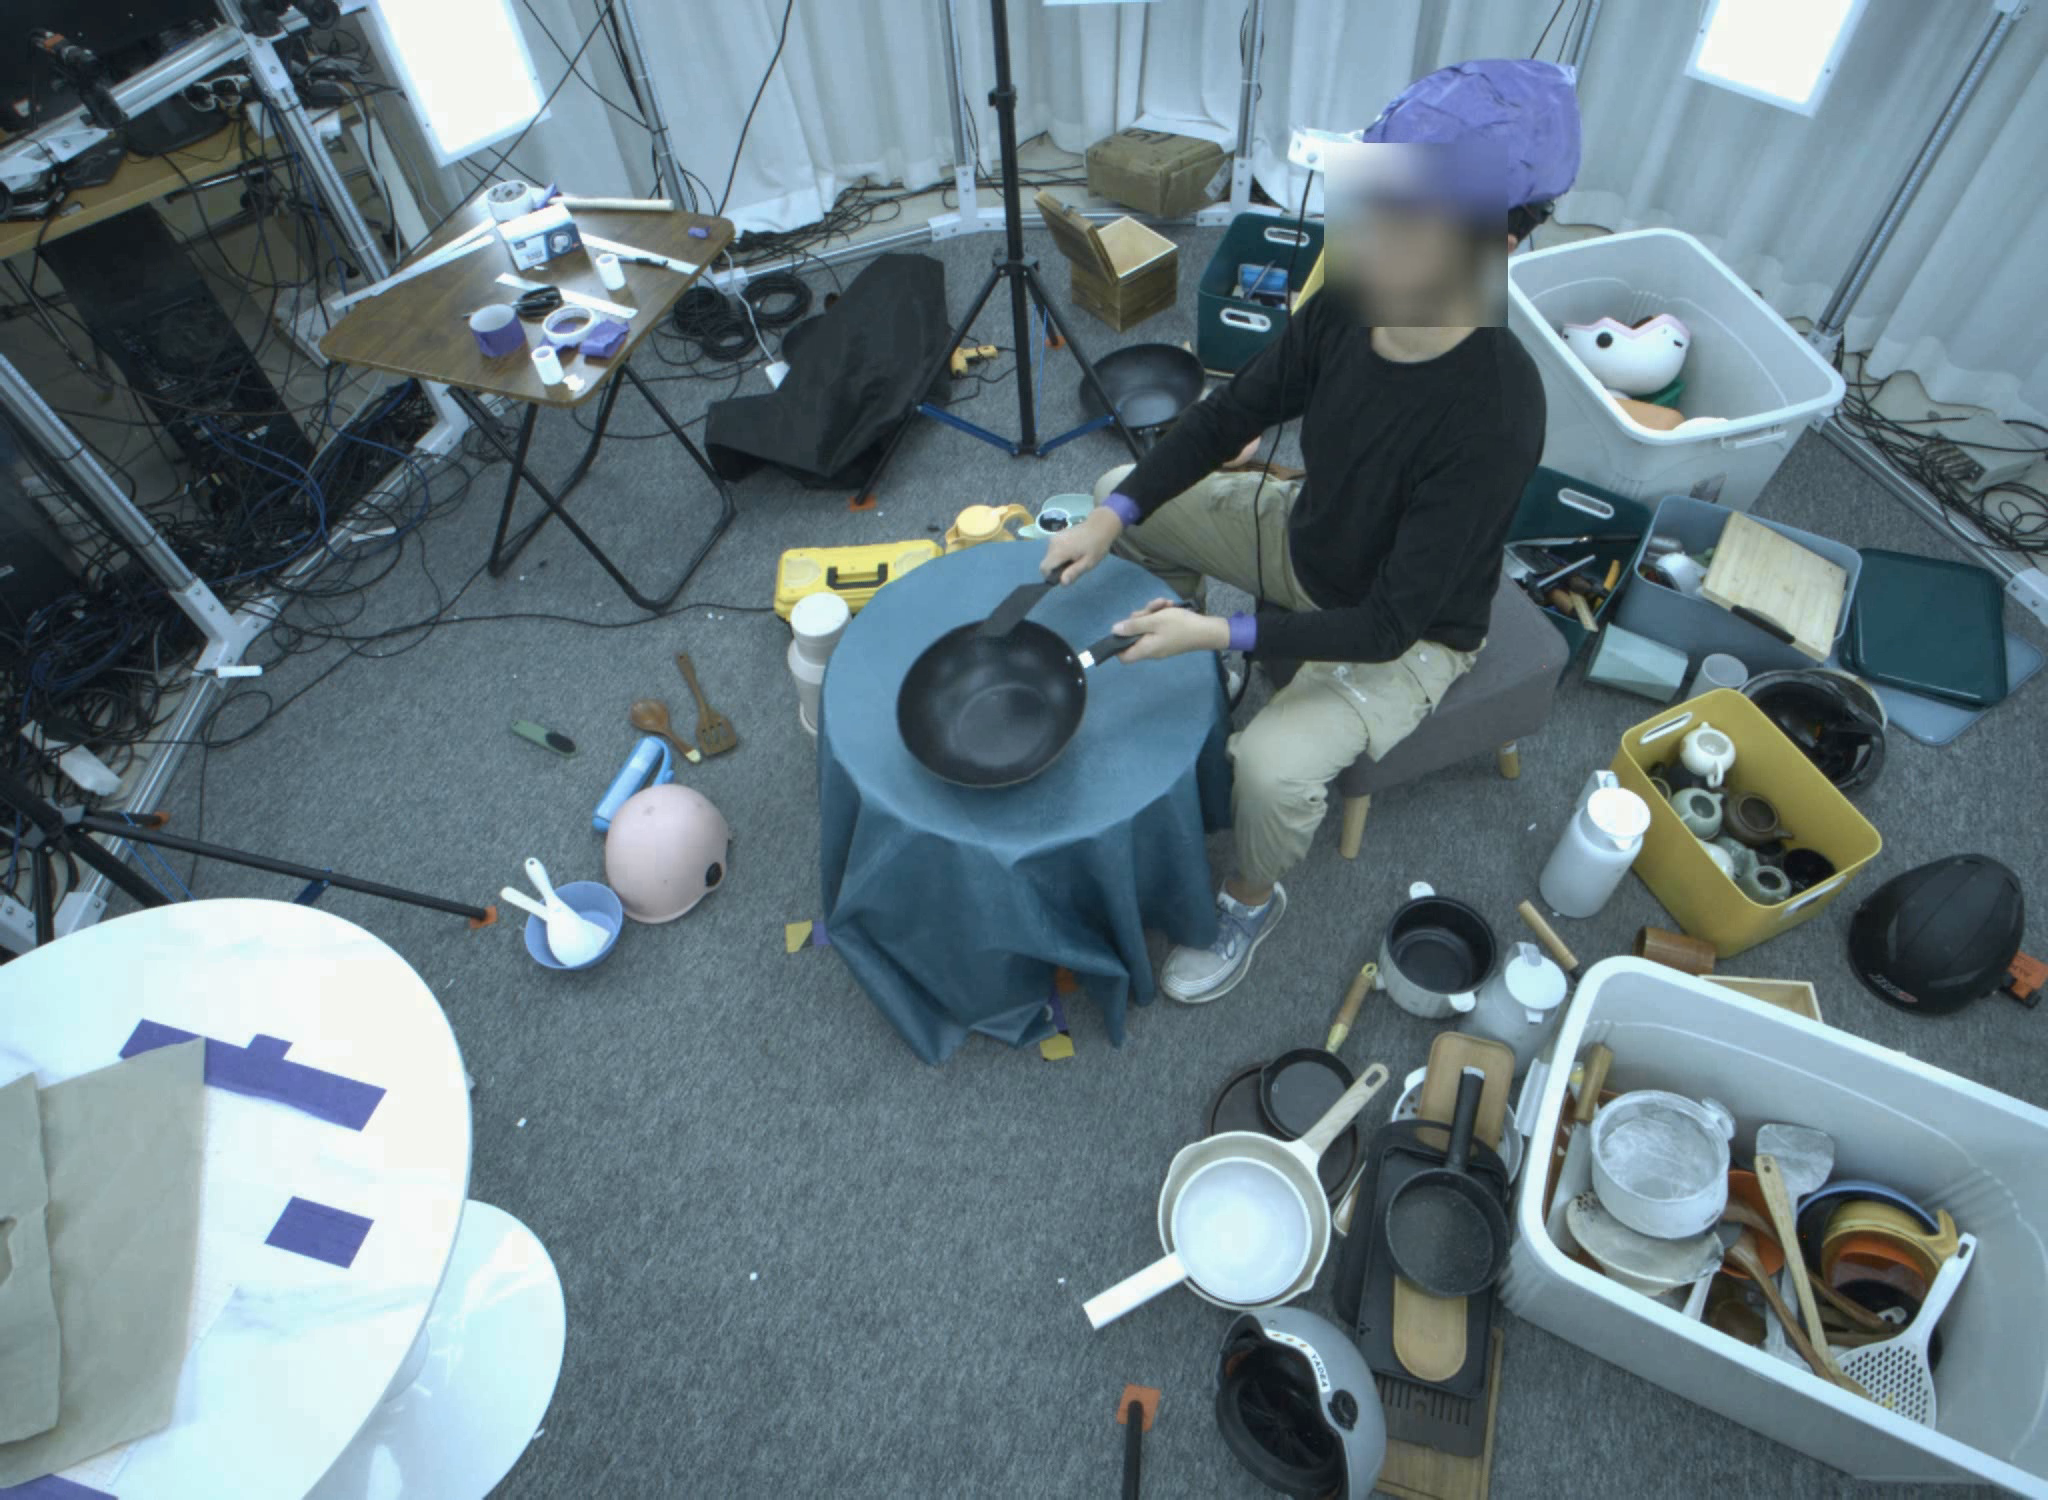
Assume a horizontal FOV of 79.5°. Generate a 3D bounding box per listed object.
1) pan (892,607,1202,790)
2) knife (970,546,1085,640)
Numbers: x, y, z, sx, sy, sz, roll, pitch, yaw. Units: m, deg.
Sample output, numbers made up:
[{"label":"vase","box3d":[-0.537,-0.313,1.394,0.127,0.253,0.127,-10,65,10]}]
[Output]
[{"label":"pan","box3d":[0.039,-0.092,1.765,0.464,0.088,0.283,-24,60,-3]},{"label":"knife","box3d":[0.013,-0.233,1.812,0.079,0.021,0.304,3,33,32]}]
